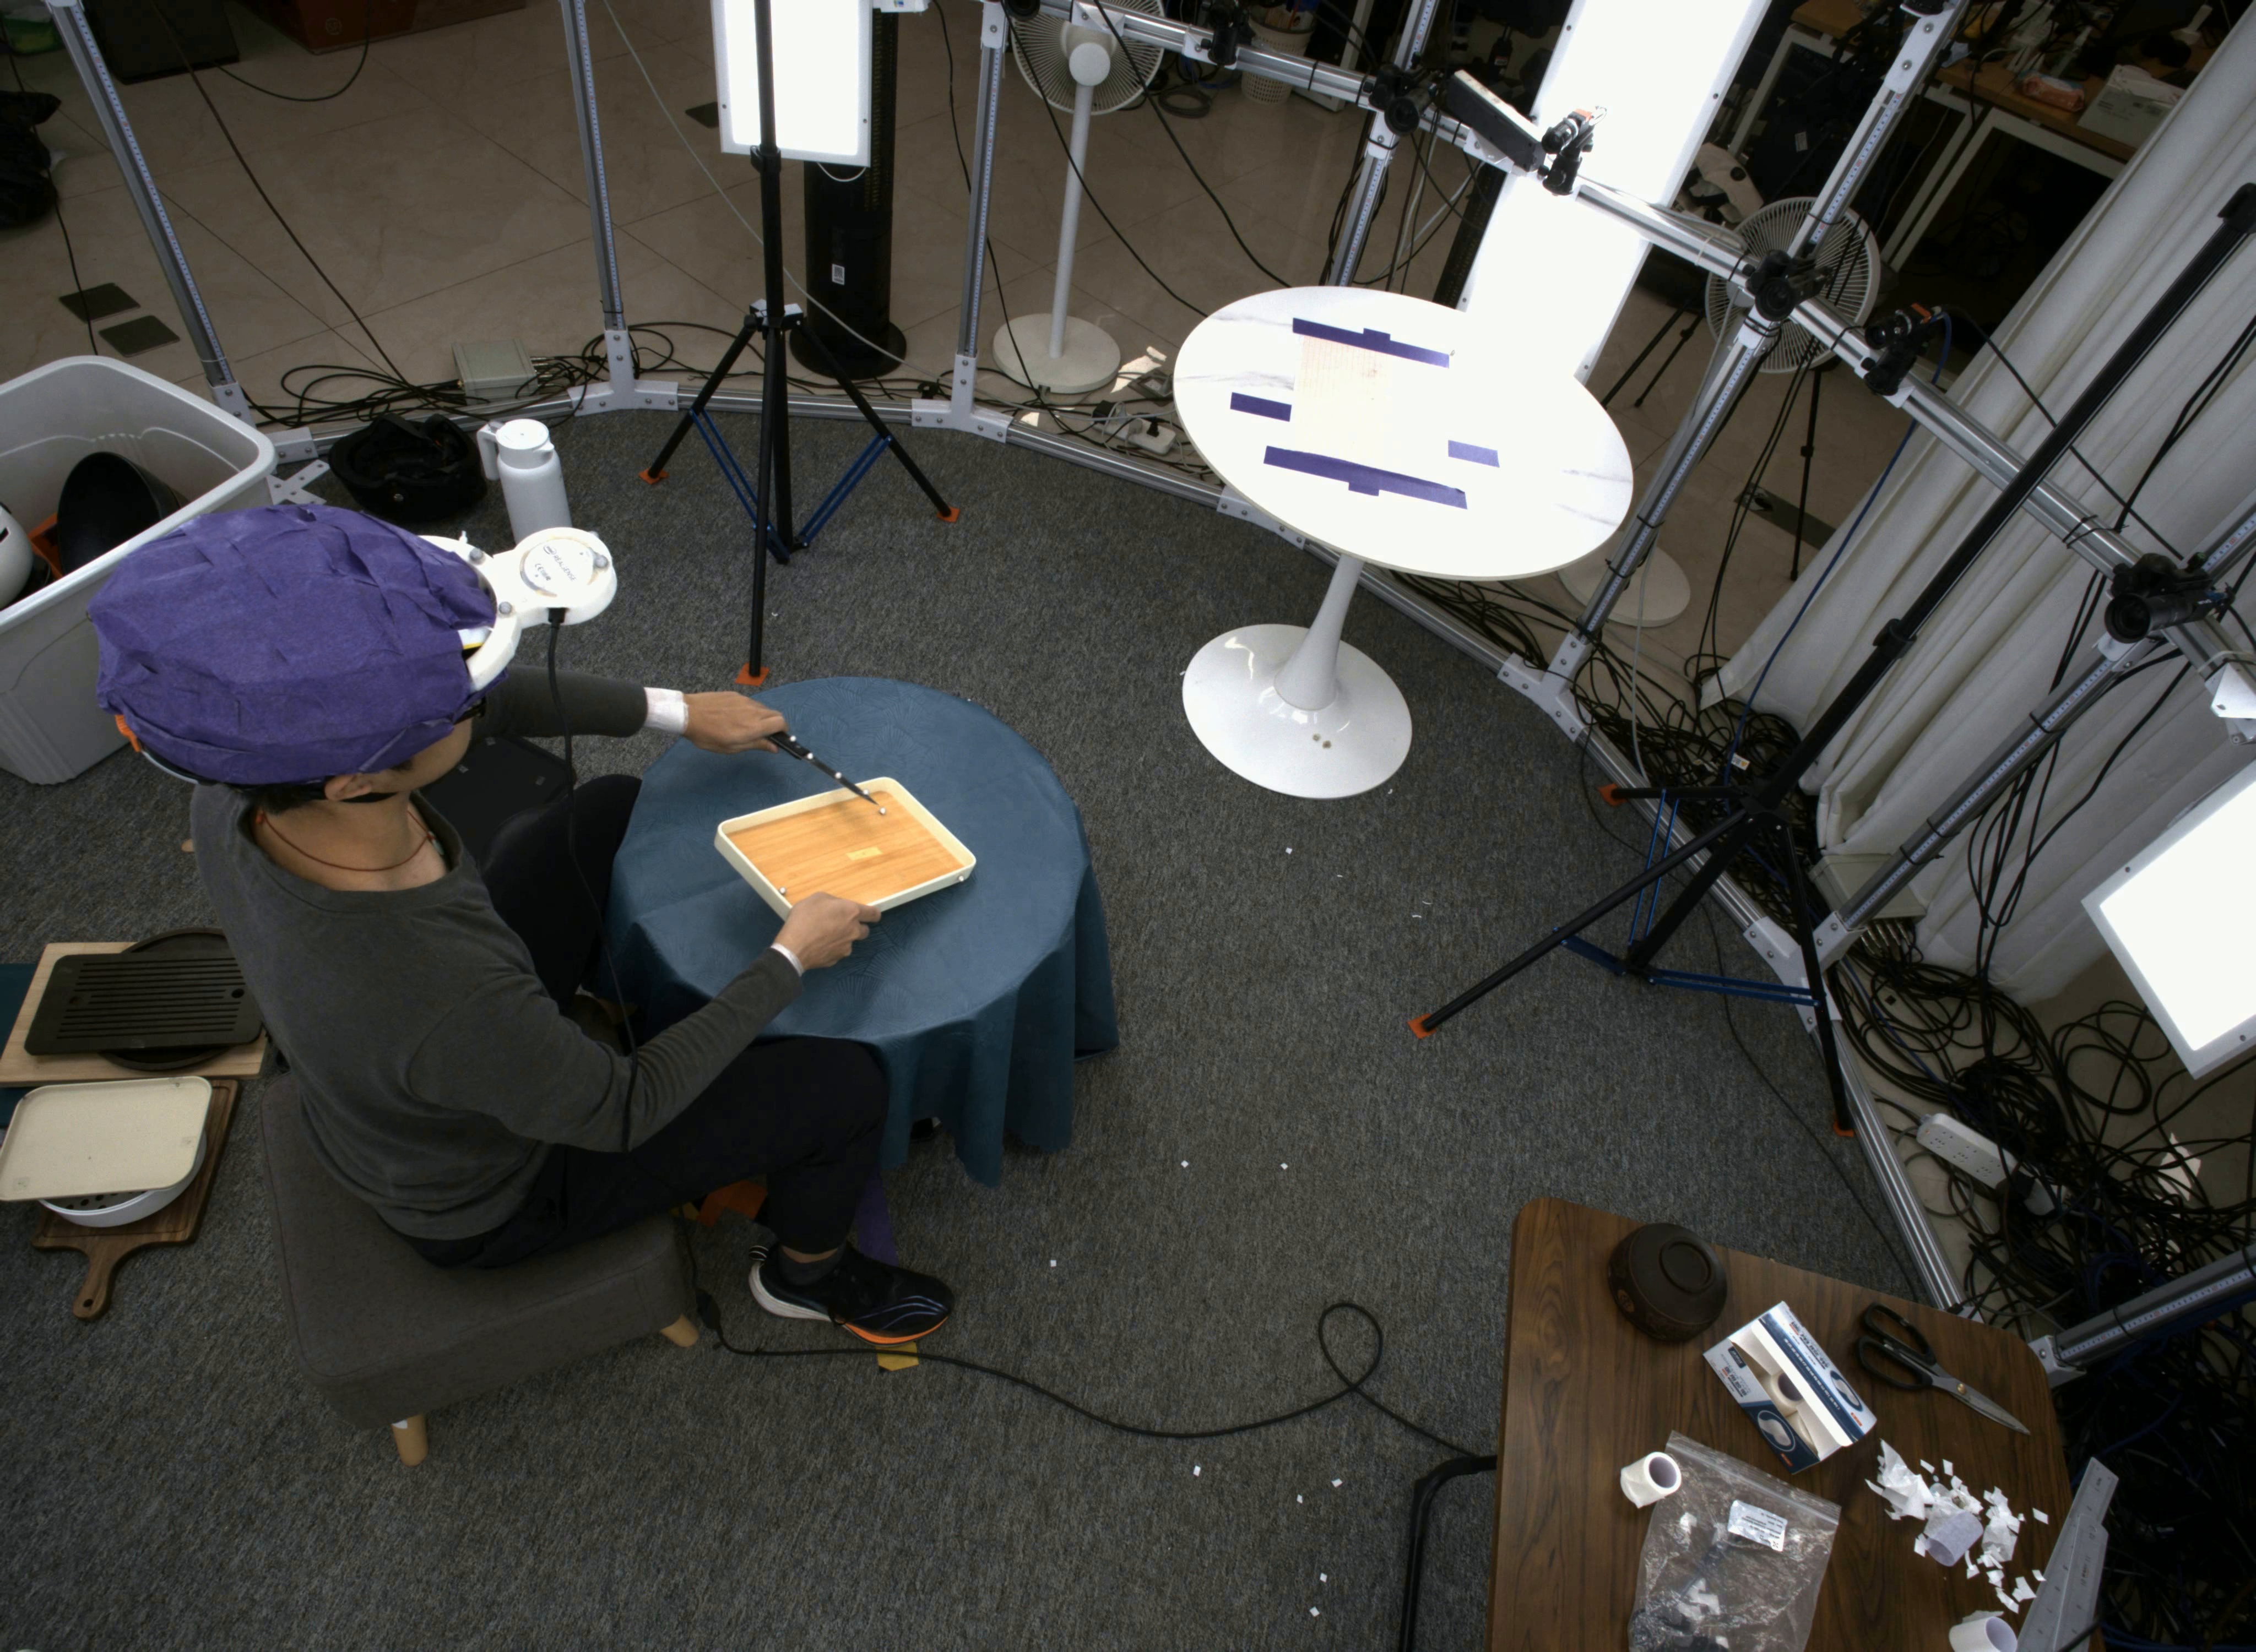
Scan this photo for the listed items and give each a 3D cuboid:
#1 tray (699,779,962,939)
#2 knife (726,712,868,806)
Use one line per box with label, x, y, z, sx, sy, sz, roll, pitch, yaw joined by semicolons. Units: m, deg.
tray;-0.369;0.033;1.639;0.187;0.028;0.303;41;33;18
knife;-0.436;-0.086;1.694;0.234;0.016;0.024;31;26;10
